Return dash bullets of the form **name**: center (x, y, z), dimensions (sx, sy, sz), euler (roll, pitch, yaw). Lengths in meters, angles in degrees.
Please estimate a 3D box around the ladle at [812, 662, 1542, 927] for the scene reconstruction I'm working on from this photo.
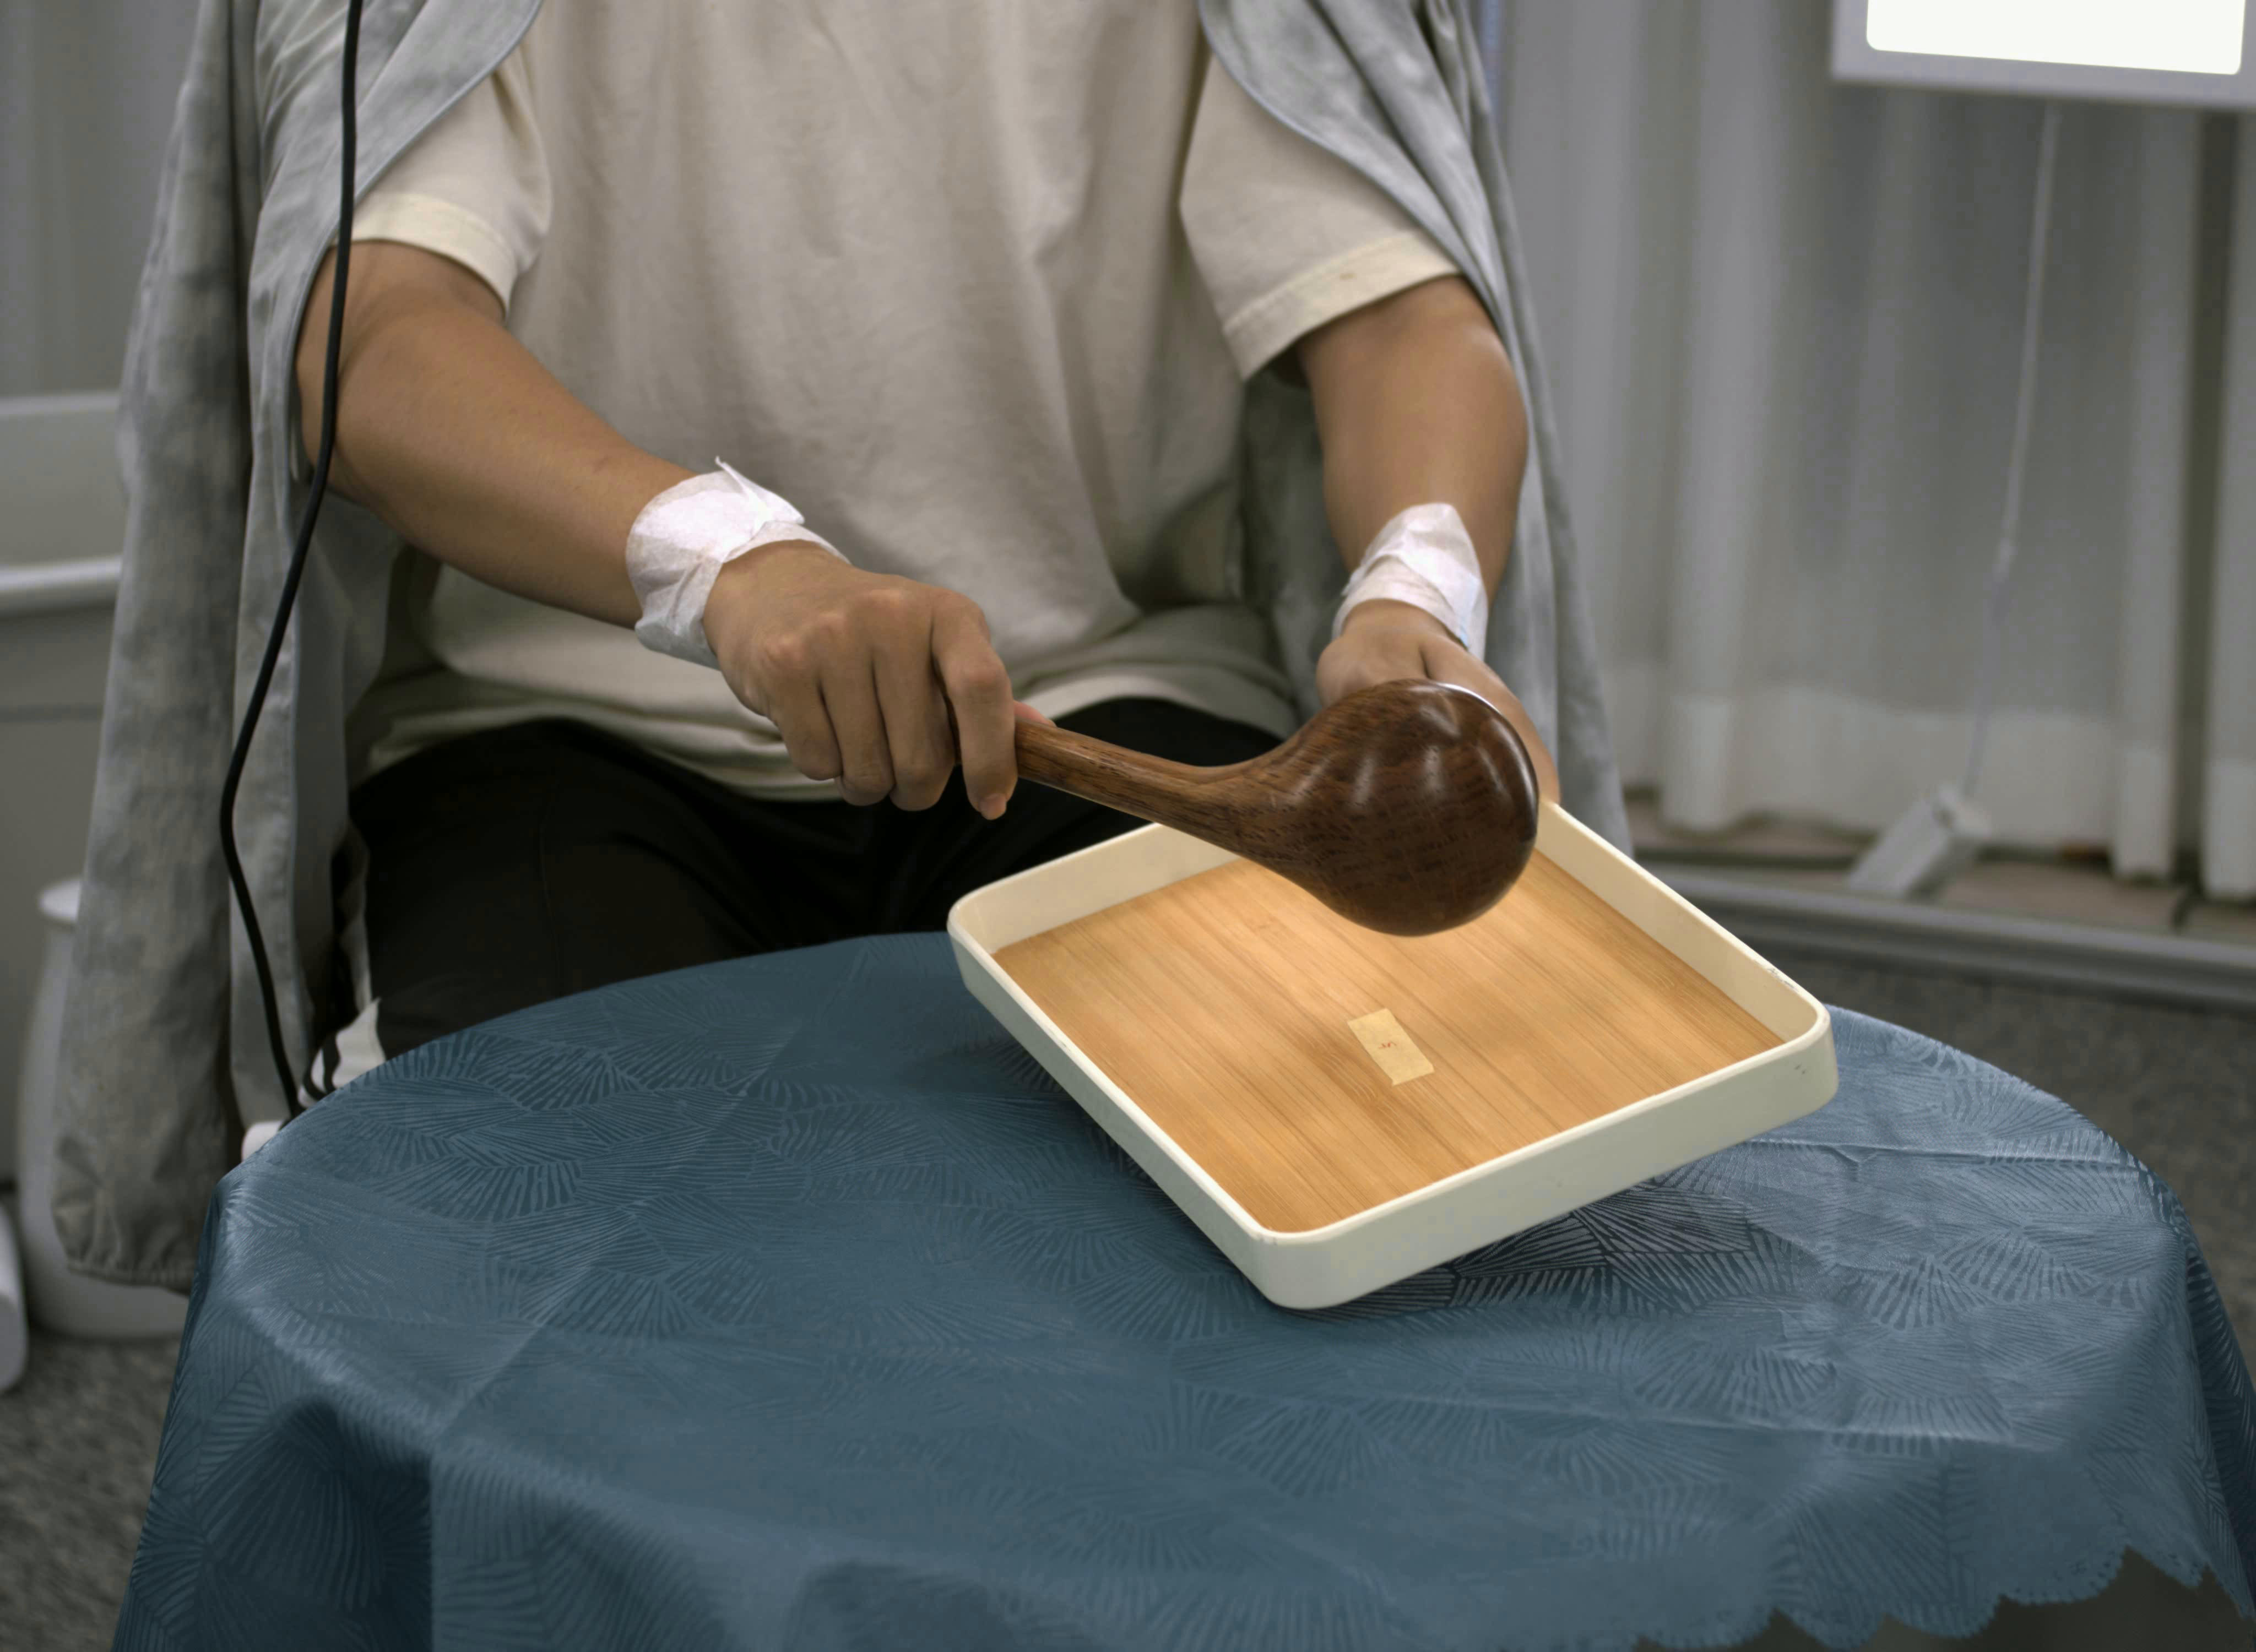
- **ladle**: center (0.014, -0.025, 1.668), dimensions (0.077, 0.082, 0.270), euler (-15, 19, -41)

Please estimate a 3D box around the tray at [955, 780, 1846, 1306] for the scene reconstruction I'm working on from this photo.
- **tray**: center (0.078, 0.053, 1.658), dimensions (0.191, 0.028, 0.296), euler (-21, 25, -14)
